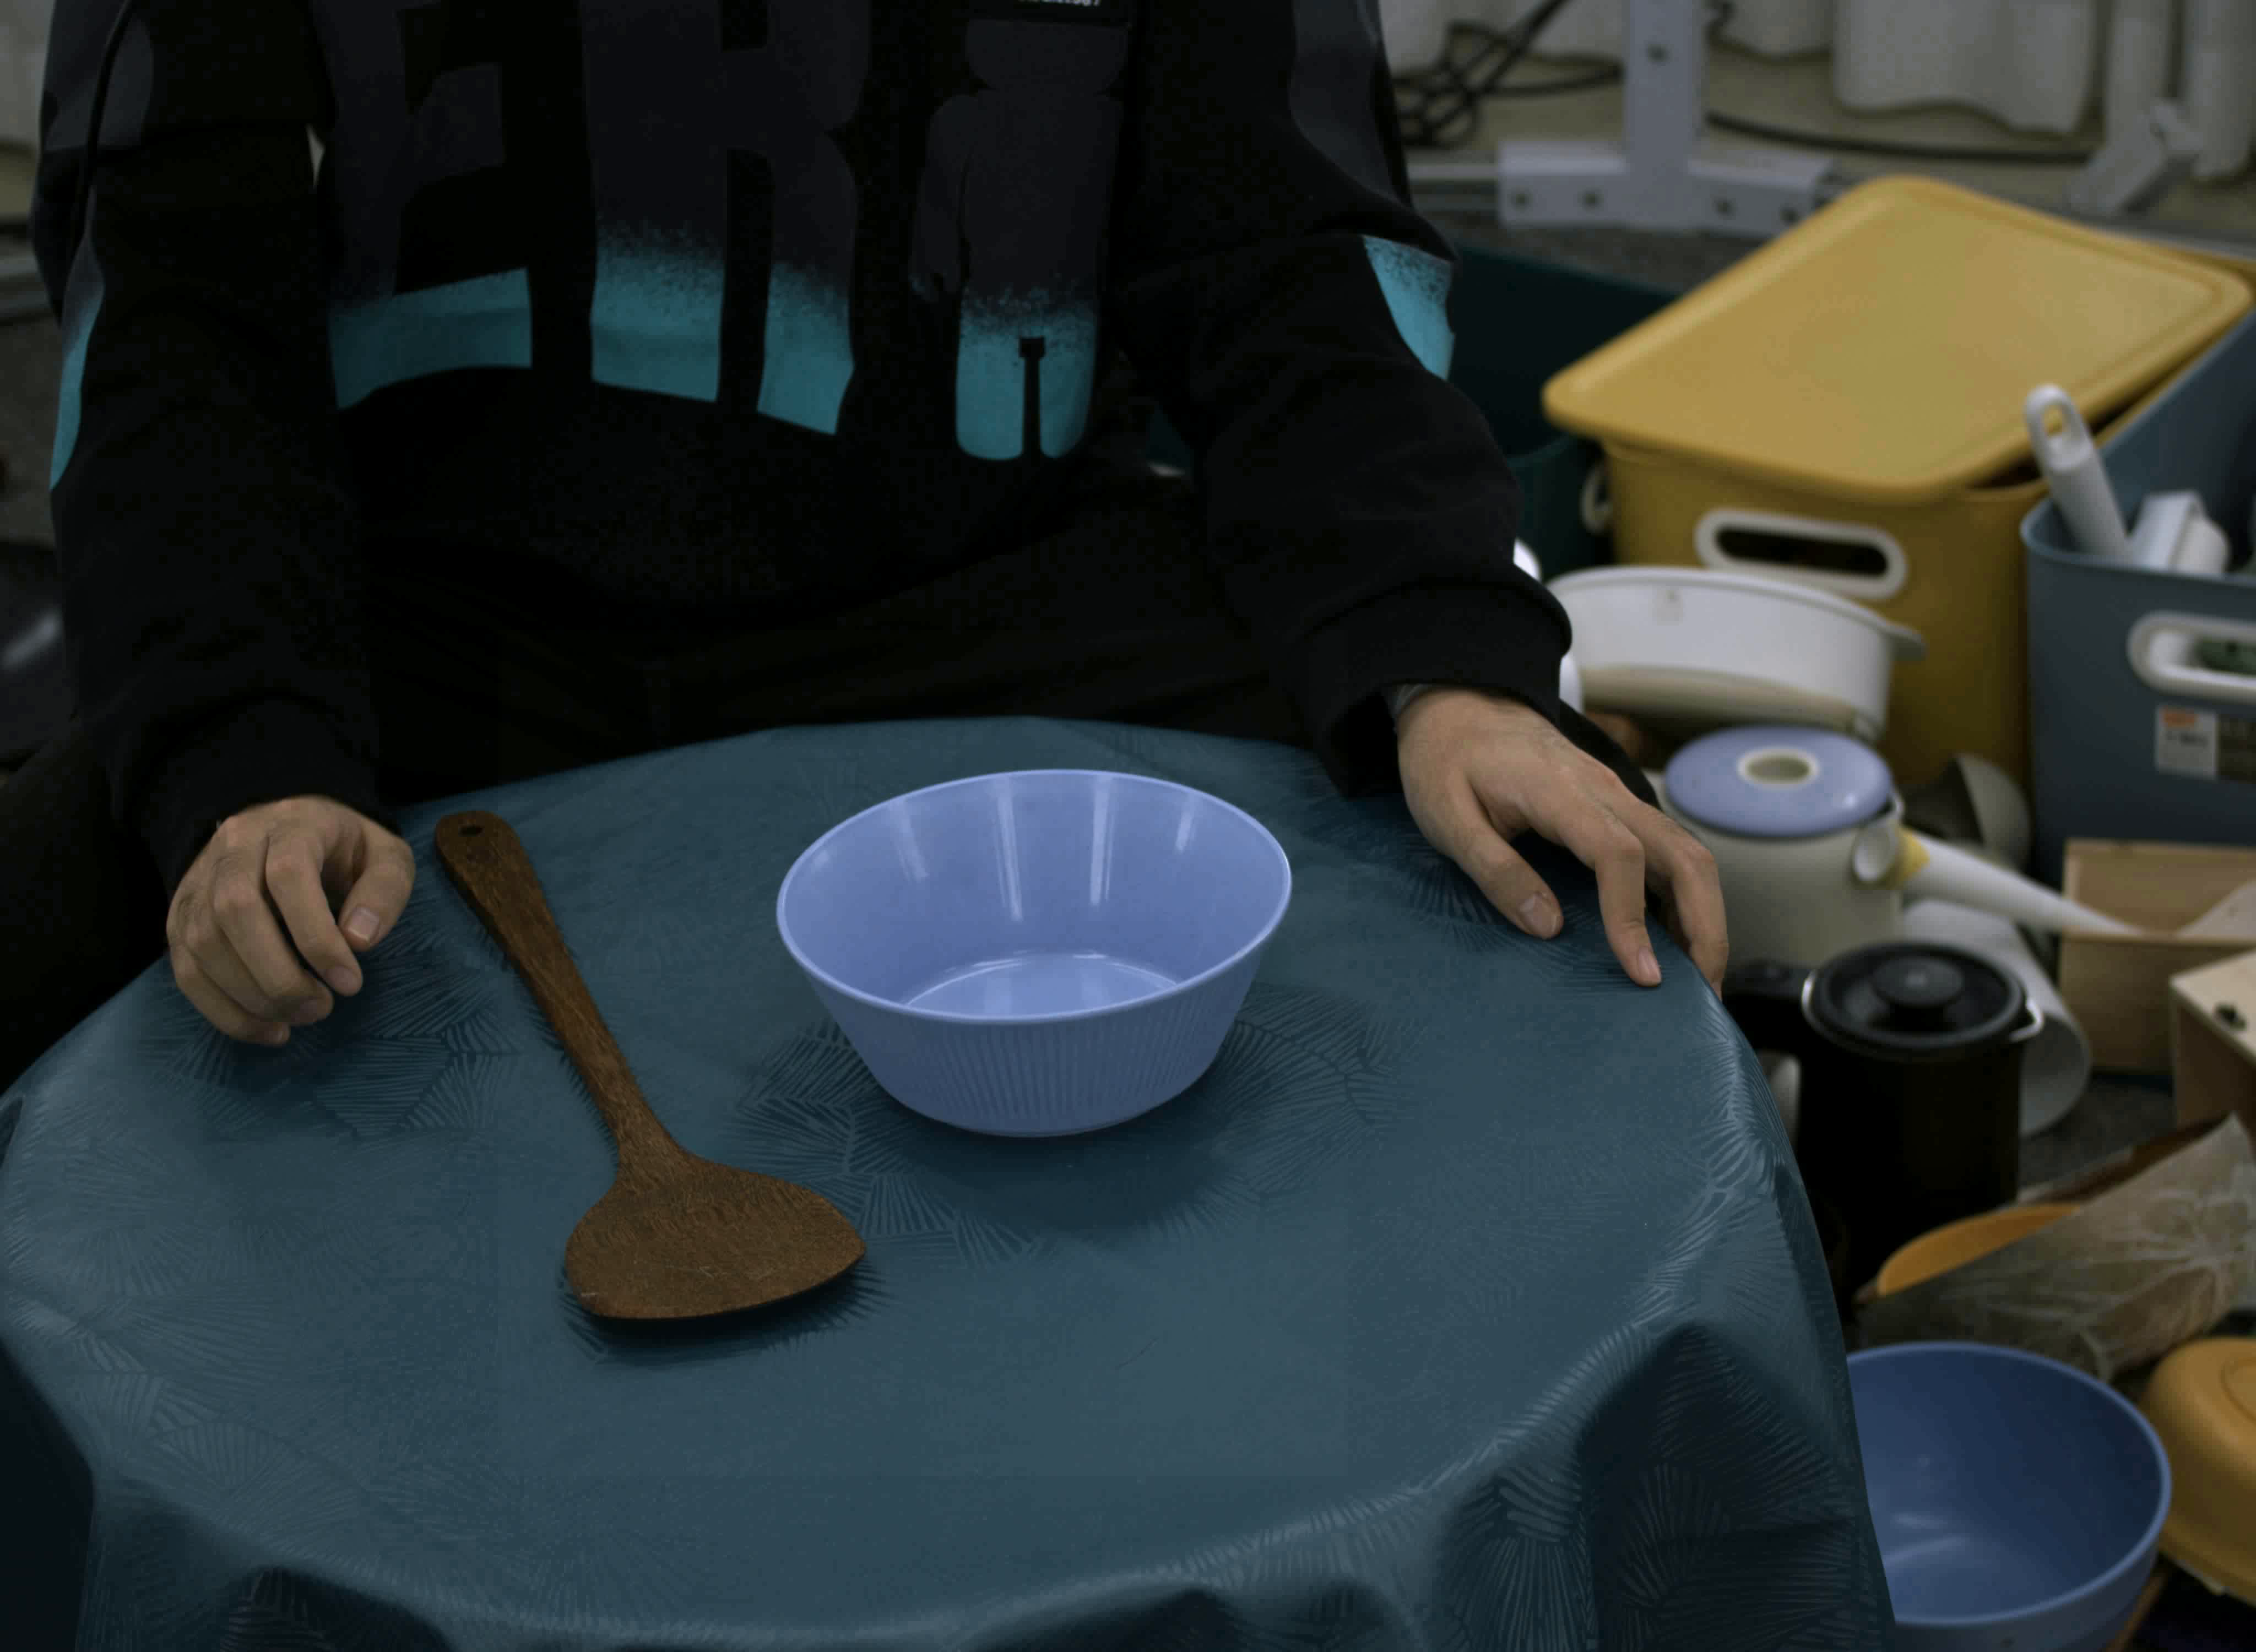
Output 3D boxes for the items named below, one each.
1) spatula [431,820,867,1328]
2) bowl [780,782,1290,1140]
[{"bbox_3d":[-0.187,0.078,1.951,0.096,0.015,0.389,-11,28,-16],"label":"spatula"},{"bbox_3d":[-0.030,0.052,1.925,0.175,0.069,0.178,-2,26,2],"label":"bowl"}]
